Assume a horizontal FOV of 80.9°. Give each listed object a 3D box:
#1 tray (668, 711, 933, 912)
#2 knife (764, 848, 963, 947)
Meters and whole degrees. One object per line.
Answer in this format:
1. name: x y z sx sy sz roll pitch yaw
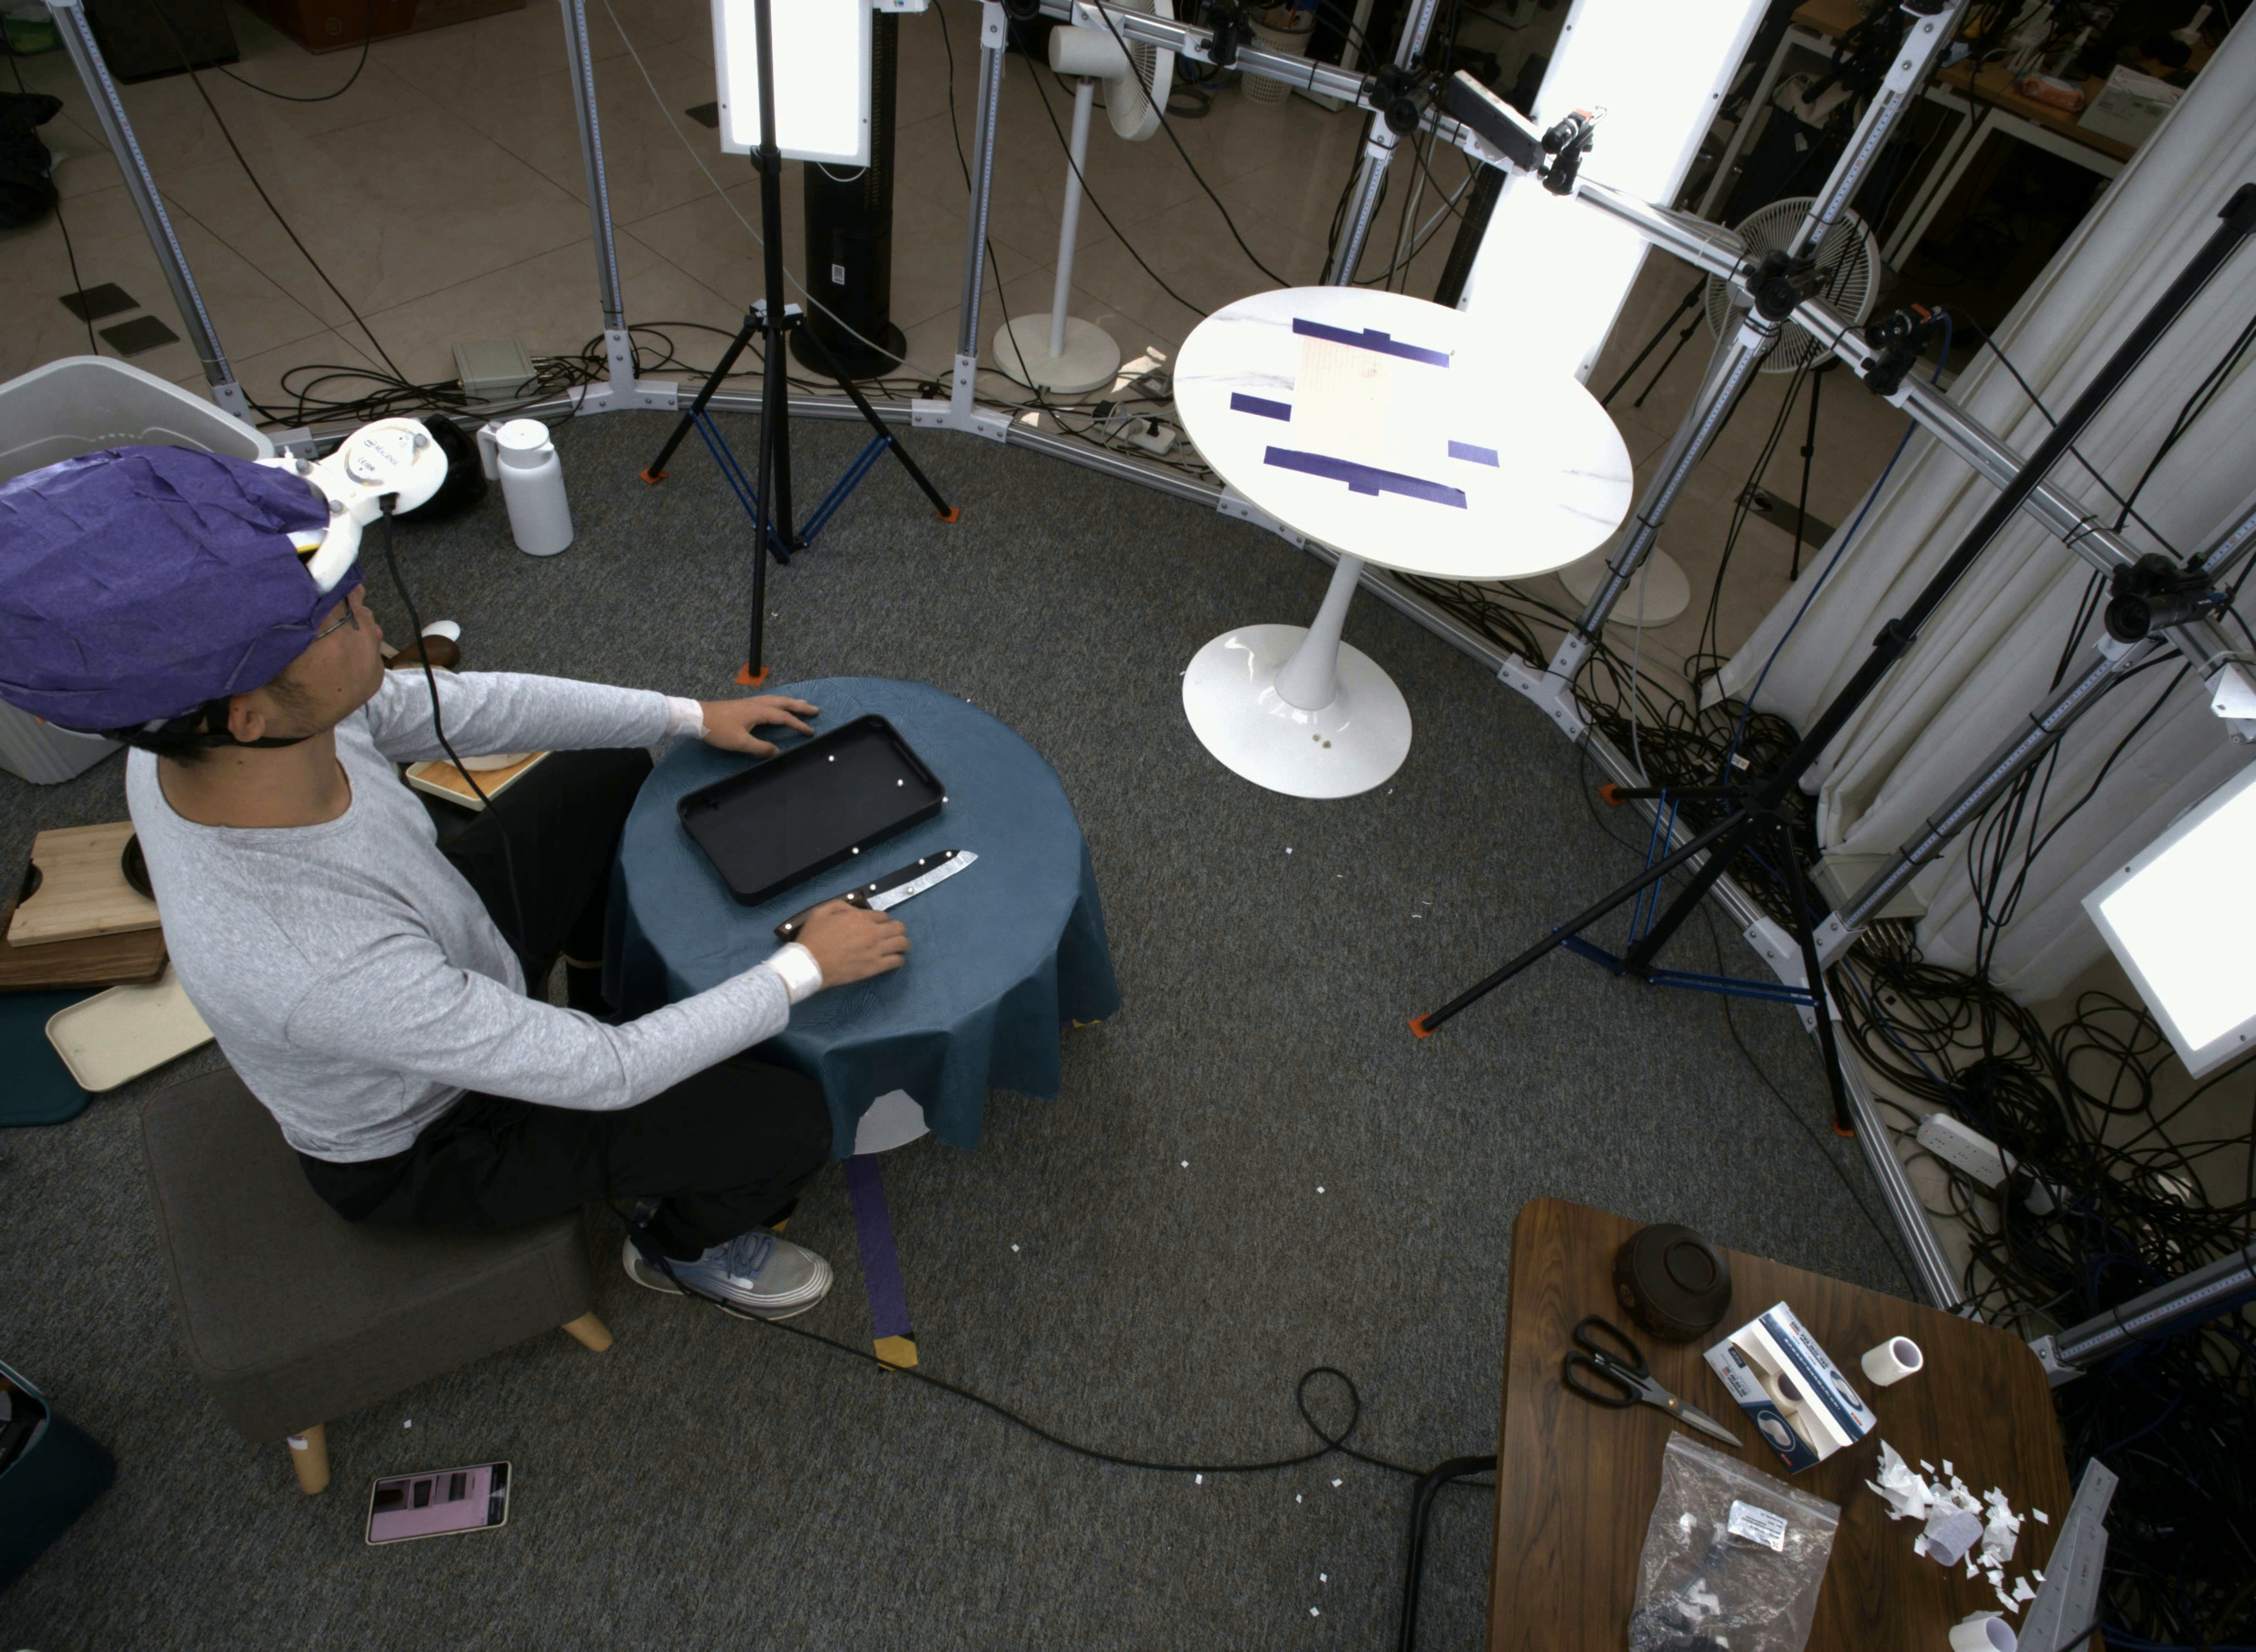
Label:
1. tray: -0.433 -0.026 1.730 0.319 0.038 0.180 -33 67 -31
2. knife: -0.337 0.087 1.683 0.291 0.020 0.049 -25 68 -31
